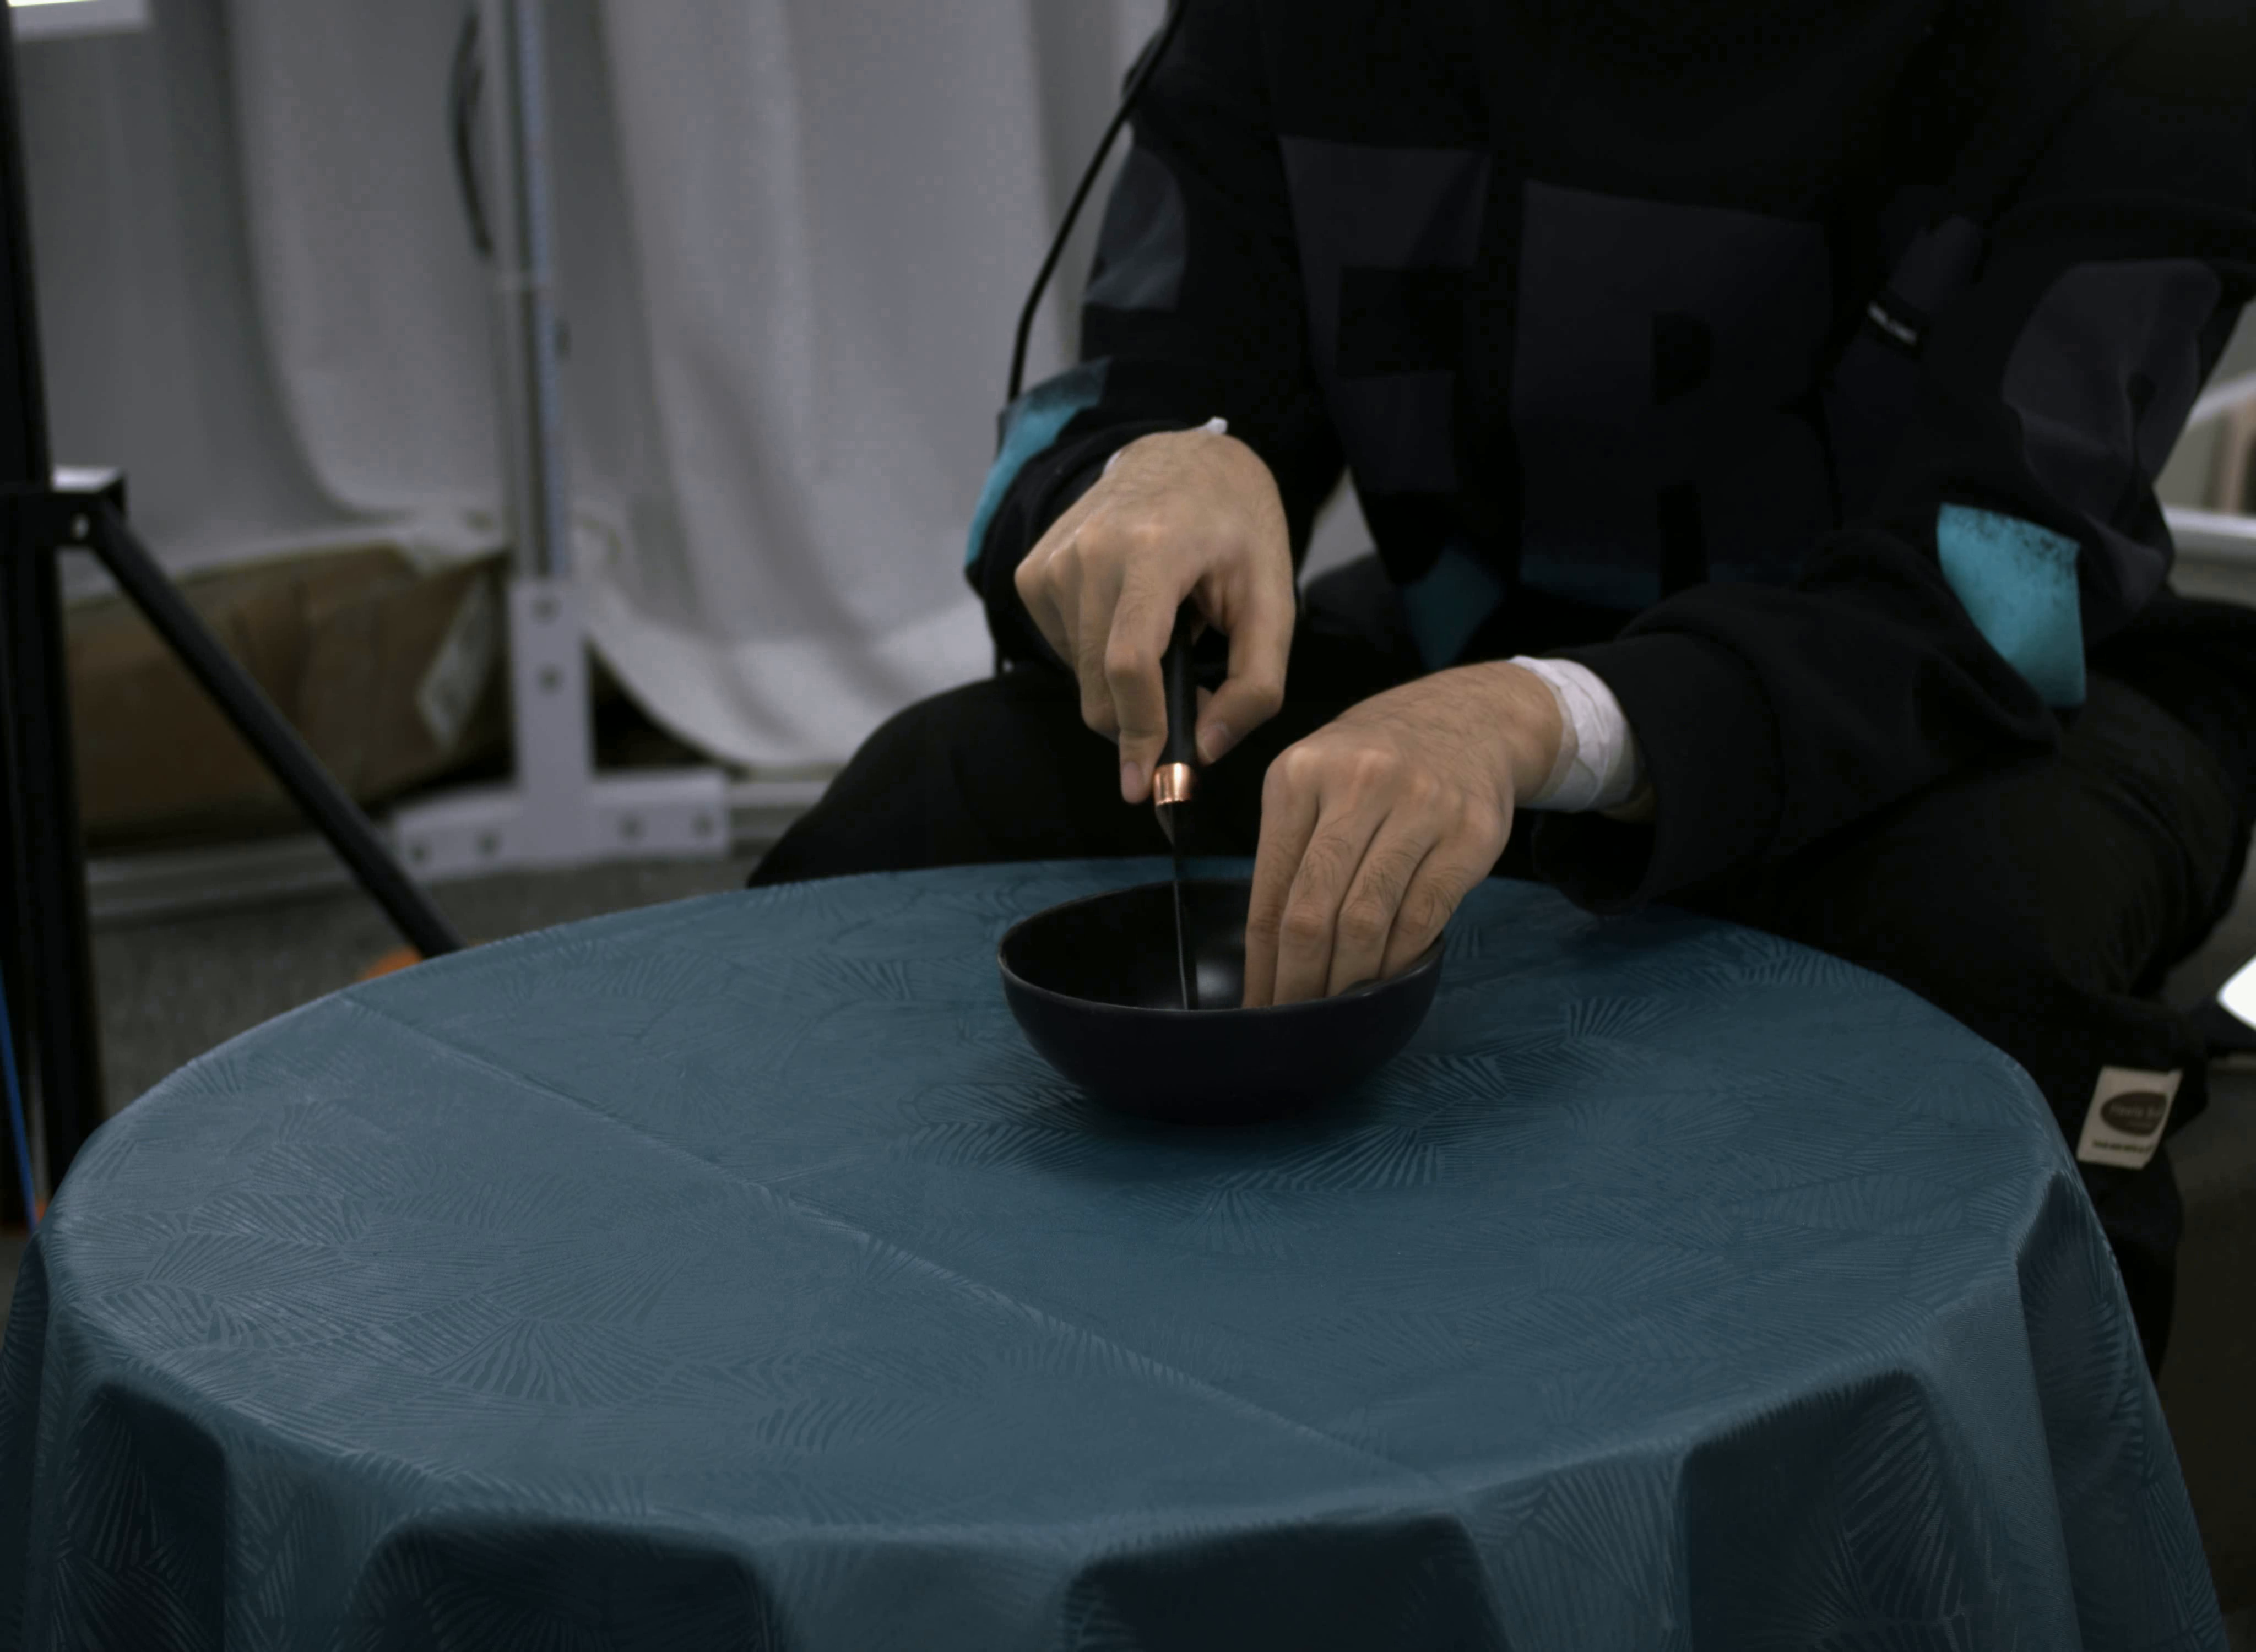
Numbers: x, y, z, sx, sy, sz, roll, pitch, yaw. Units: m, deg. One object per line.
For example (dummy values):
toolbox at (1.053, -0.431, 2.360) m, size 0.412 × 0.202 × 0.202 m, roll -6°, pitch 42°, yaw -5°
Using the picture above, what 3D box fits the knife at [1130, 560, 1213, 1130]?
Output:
knife at (0.016, 0.003, 1.691) m, size 0.017 × 0.026 × 0.228 m, roll -10°, pitch 49°, yaw 5°

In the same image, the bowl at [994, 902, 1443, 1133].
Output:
bowl at (0.029, 0.062, 1.635) m, size 0.139 × 0.050 × 0.140 m, roll -3°, pitch 11°, yaw -1°
